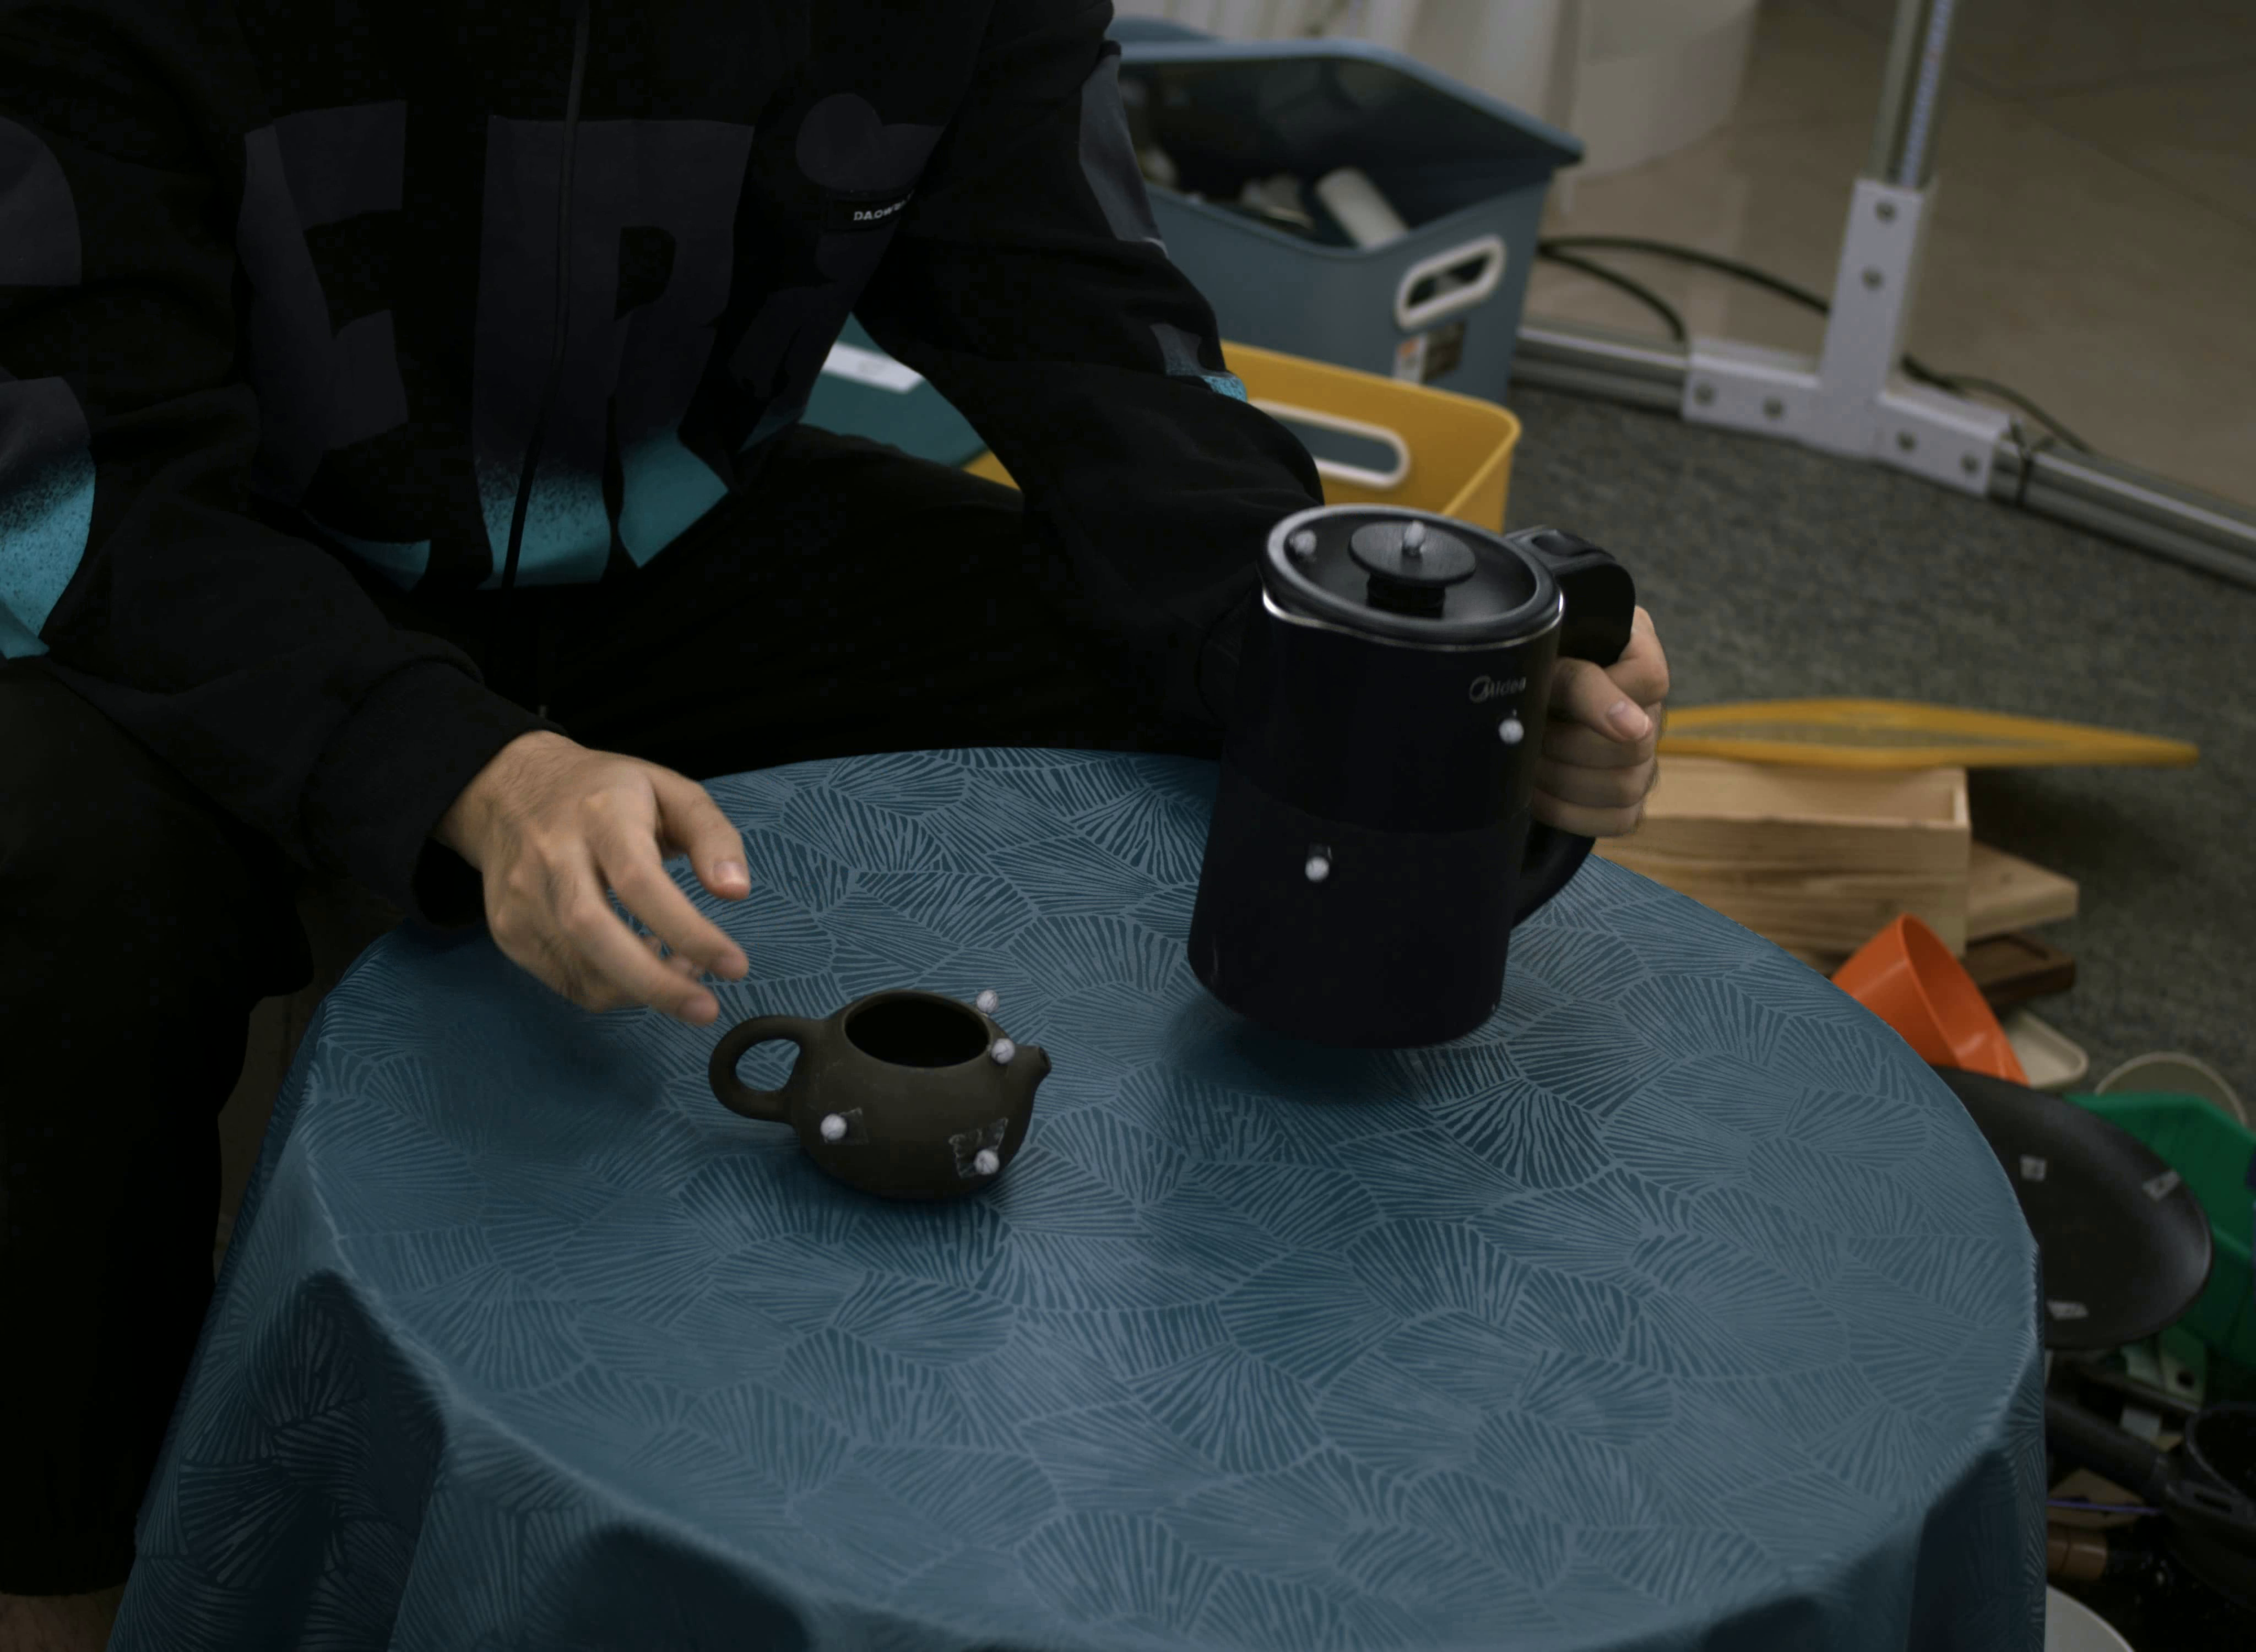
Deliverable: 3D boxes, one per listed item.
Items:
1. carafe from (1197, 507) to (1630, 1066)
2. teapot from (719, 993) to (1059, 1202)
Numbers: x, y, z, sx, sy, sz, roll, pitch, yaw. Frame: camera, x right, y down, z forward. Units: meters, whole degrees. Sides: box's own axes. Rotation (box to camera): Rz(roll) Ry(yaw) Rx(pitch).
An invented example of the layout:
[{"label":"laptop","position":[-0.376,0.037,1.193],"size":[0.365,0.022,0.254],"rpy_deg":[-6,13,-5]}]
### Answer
[{"label":"carafe","position":[0.104,-0.025,1.878],"size":[0.170,0.173,0.115],"rpy_deg":[-17,34,-38]},{"label":"teapot","position":[-0.082,0.089,1.794],"size":[0.114,0.053,0.083],"rpy_deg":[12,26,3]}]
